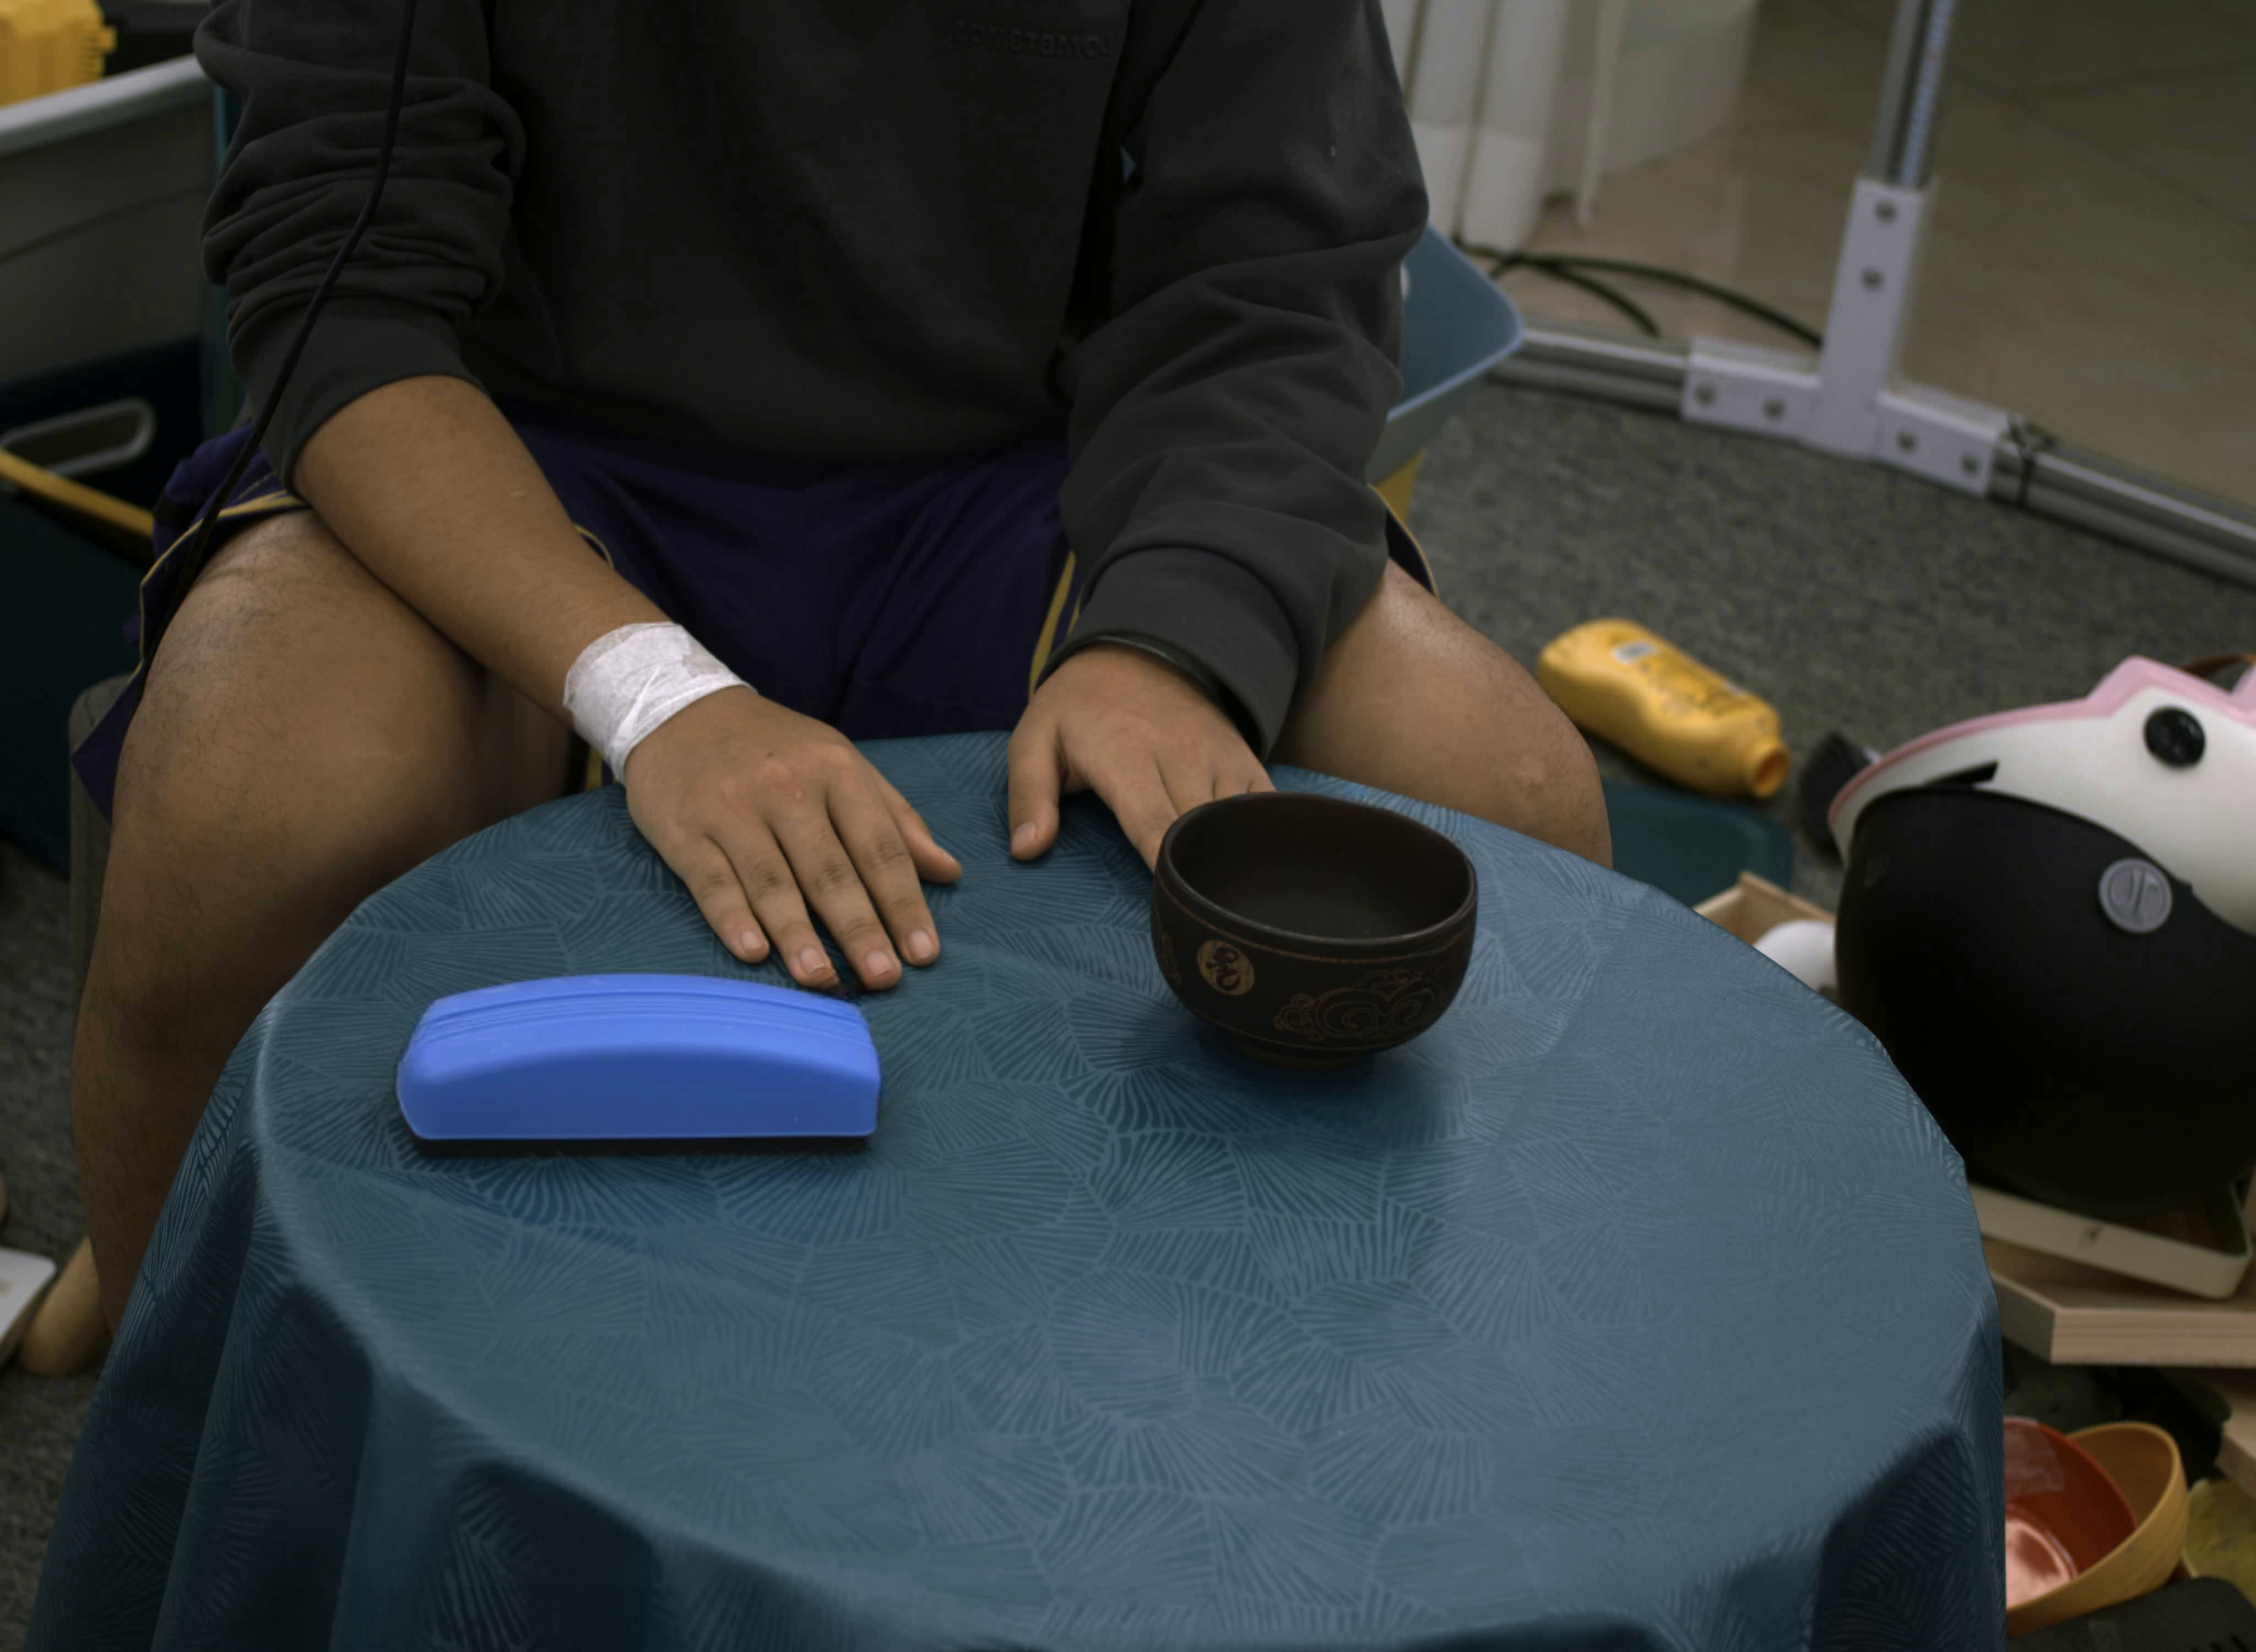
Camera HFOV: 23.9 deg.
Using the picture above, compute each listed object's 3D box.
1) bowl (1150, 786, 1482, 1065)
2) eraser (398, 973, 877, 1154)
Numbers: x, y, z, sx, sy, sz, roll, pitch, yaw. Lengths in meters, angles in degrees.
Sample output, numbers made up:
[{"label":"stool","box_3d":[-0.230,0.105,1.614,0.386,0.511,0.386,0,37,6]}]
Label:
[{"label":"bowl","box_3d":[0.065,0.042,1.895,0.117,0.069,0.119,4,27,-2]},{"label":"eraser","box_3d":[-0.165,0.080,1.800,0.161,0.047,0.054,0,28,-13]}]
